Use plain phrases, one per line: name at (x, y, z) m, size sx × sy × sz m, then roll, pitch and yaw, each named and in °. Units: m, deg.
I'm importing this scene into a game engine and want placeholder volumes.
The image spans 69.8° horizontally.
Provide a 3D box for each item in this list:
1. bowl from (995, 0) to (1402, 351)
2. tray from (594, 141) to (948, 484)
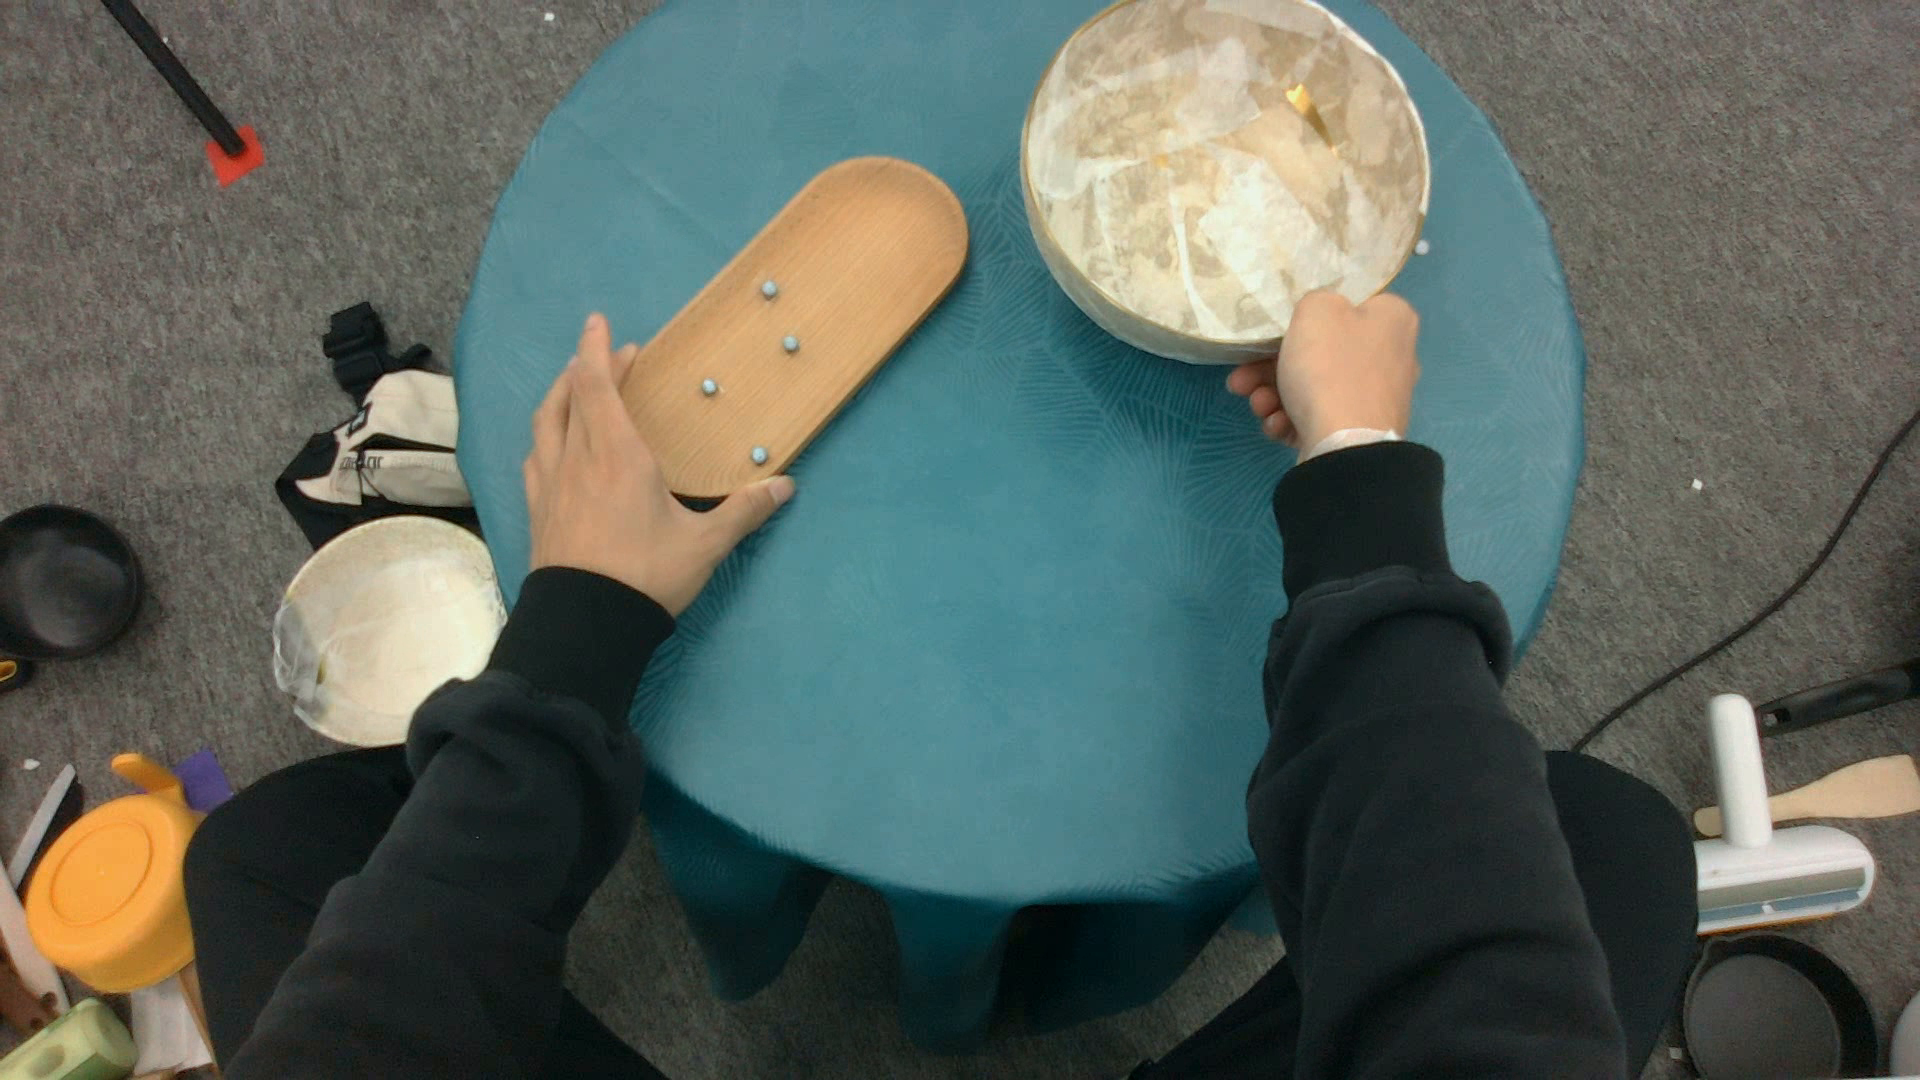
bowl at (0.112, -0.181, 0.716) m, size 0.215 × 0.094 × 0.215 m, roll 2°, pitch 73°, yaw -6°
tray at (-0.097, -0.124, 0.732) m, size 0.102 × 0.020 × 0.232 m, roll 37°, pitch 71°, yaw 9°
